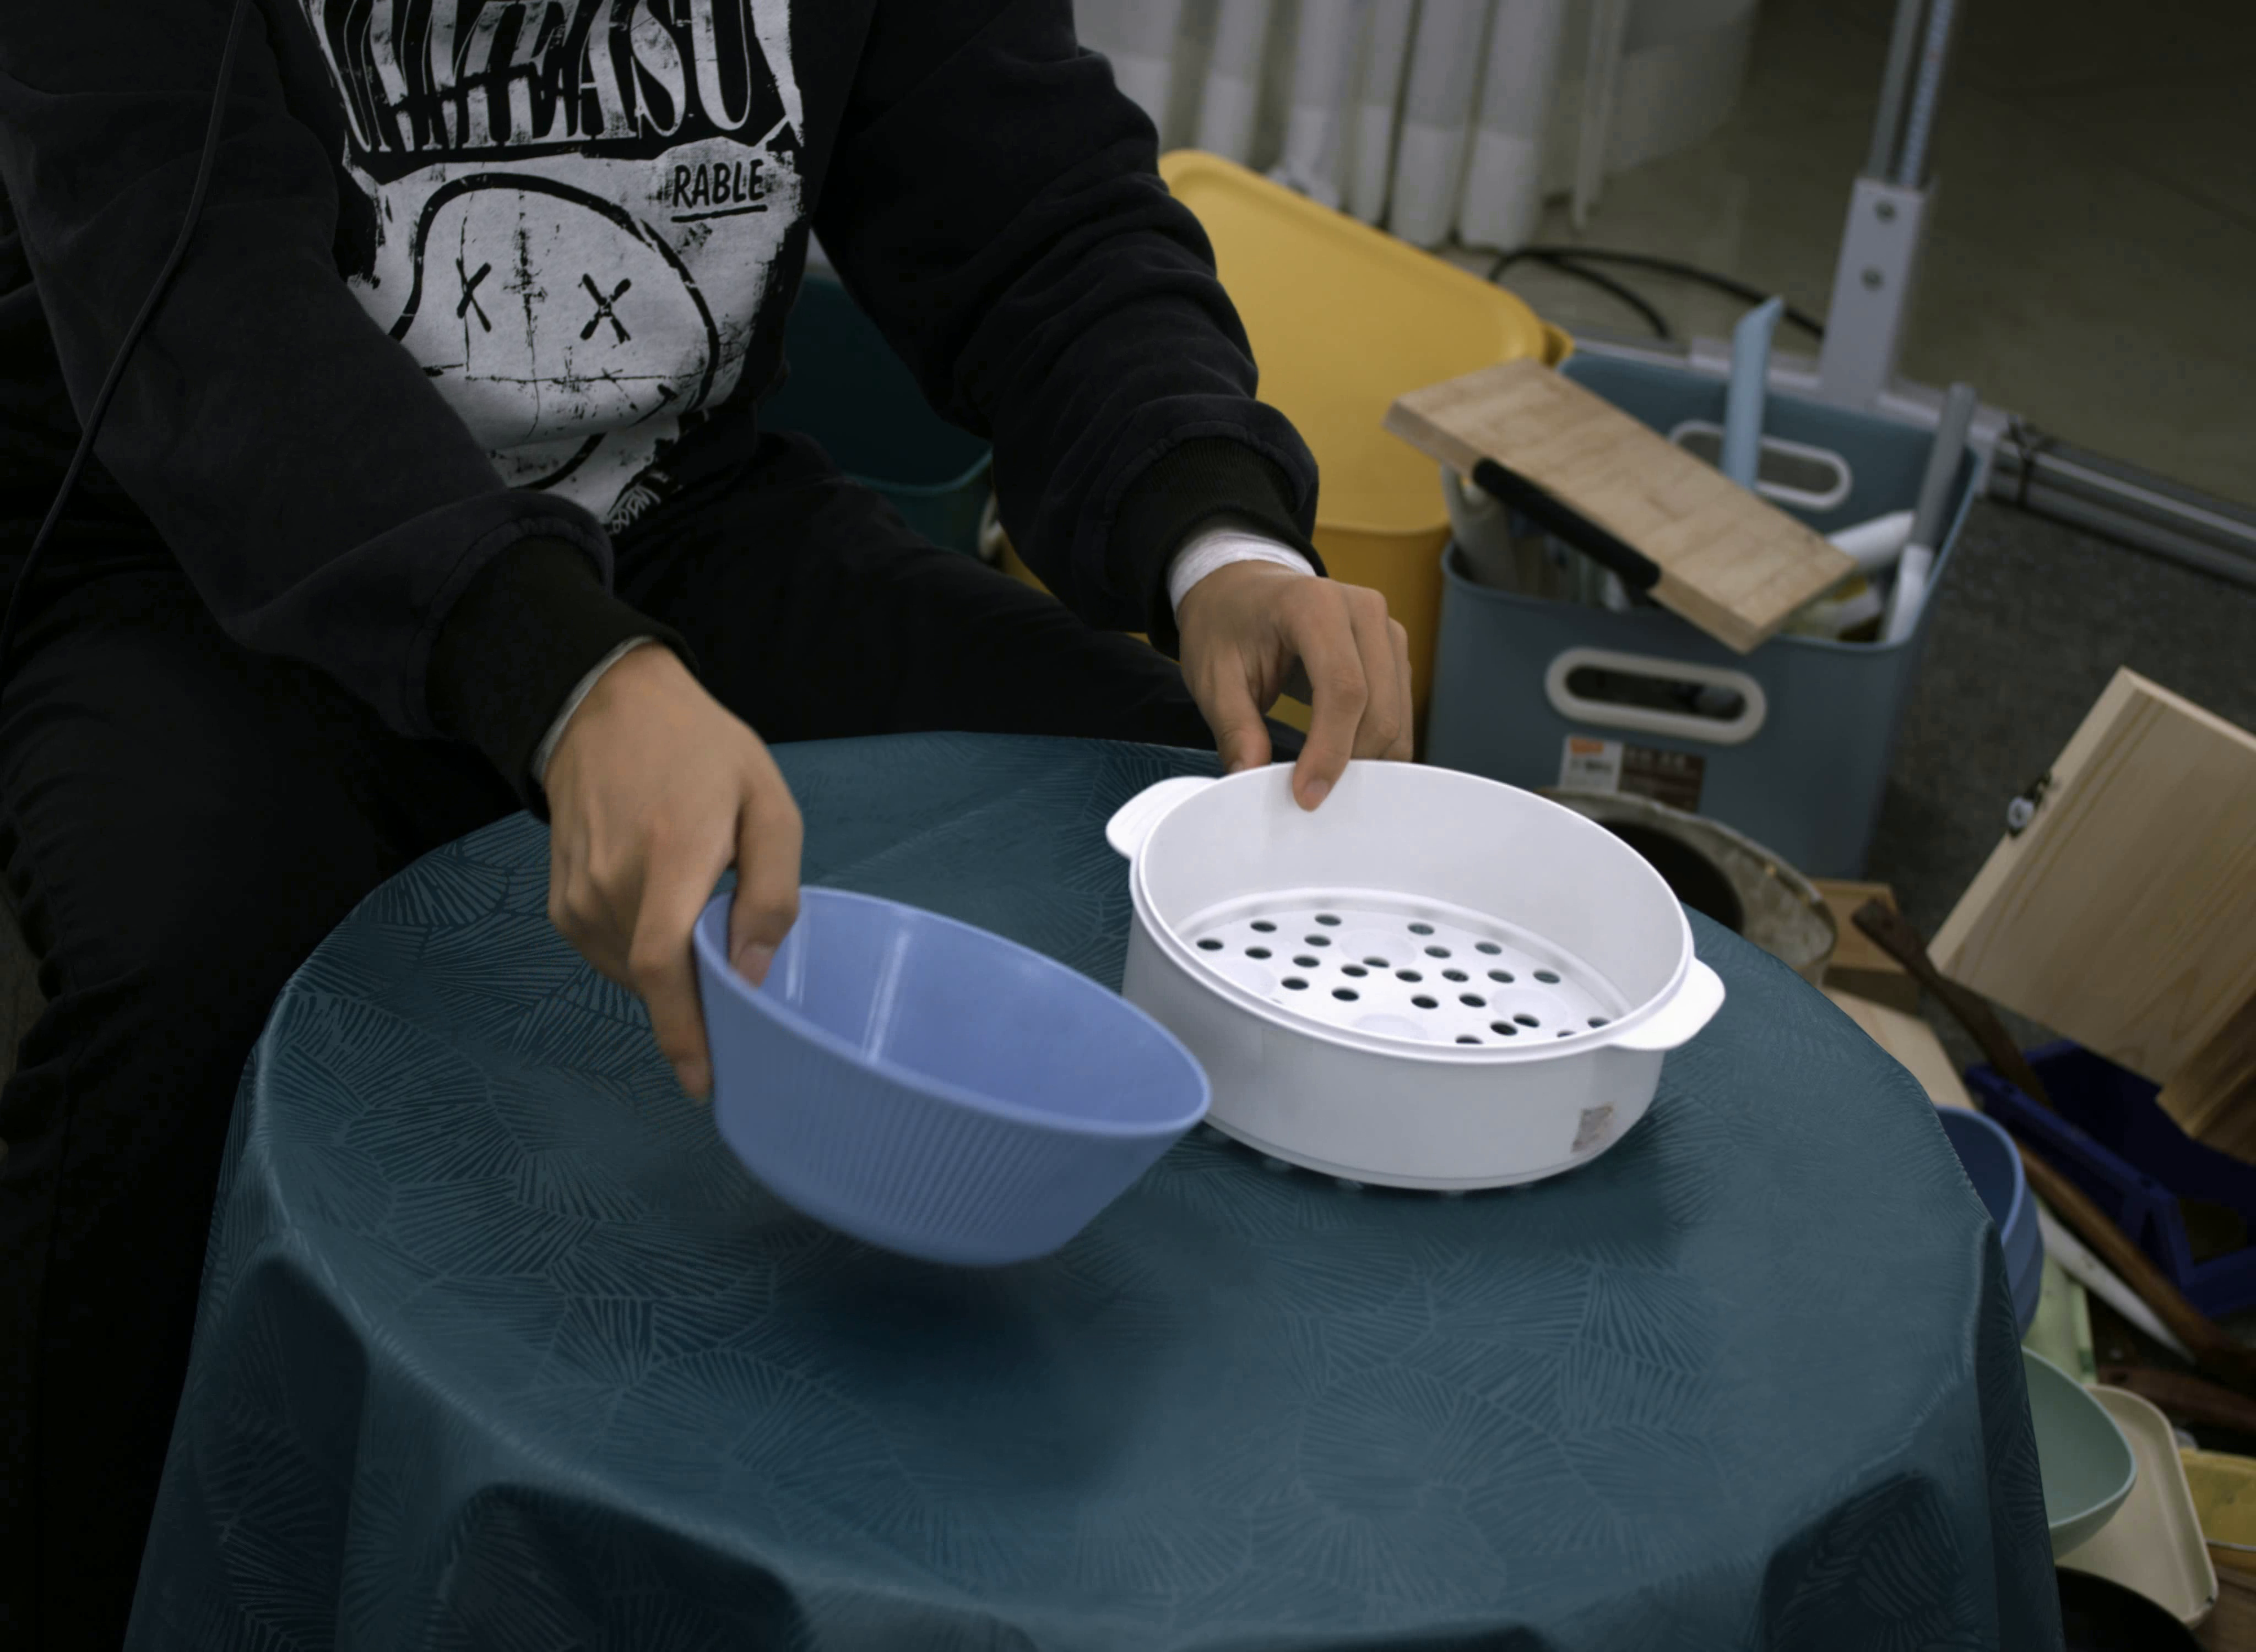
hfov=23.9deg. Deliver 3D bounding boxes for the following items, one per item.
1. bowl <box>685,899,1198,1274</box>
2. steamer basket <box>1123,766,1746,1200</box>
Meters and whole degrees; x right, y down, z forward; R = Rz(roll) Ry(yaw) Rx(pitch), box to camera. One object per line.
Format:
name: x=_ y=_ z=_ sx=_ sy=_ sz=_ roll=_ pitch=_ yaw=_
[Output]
bowl: x=-0.070 y=0.089 z=1.716 sx=0.175 sy=0.070 sz=0.177 roll=19 pitch=15 yaw=-6
steamer basket: x=0.102 y=0.056 z=1.877 sx=0.231 sy=0.069 sz=0.201 roll=22 pitch=31 yaw=21
